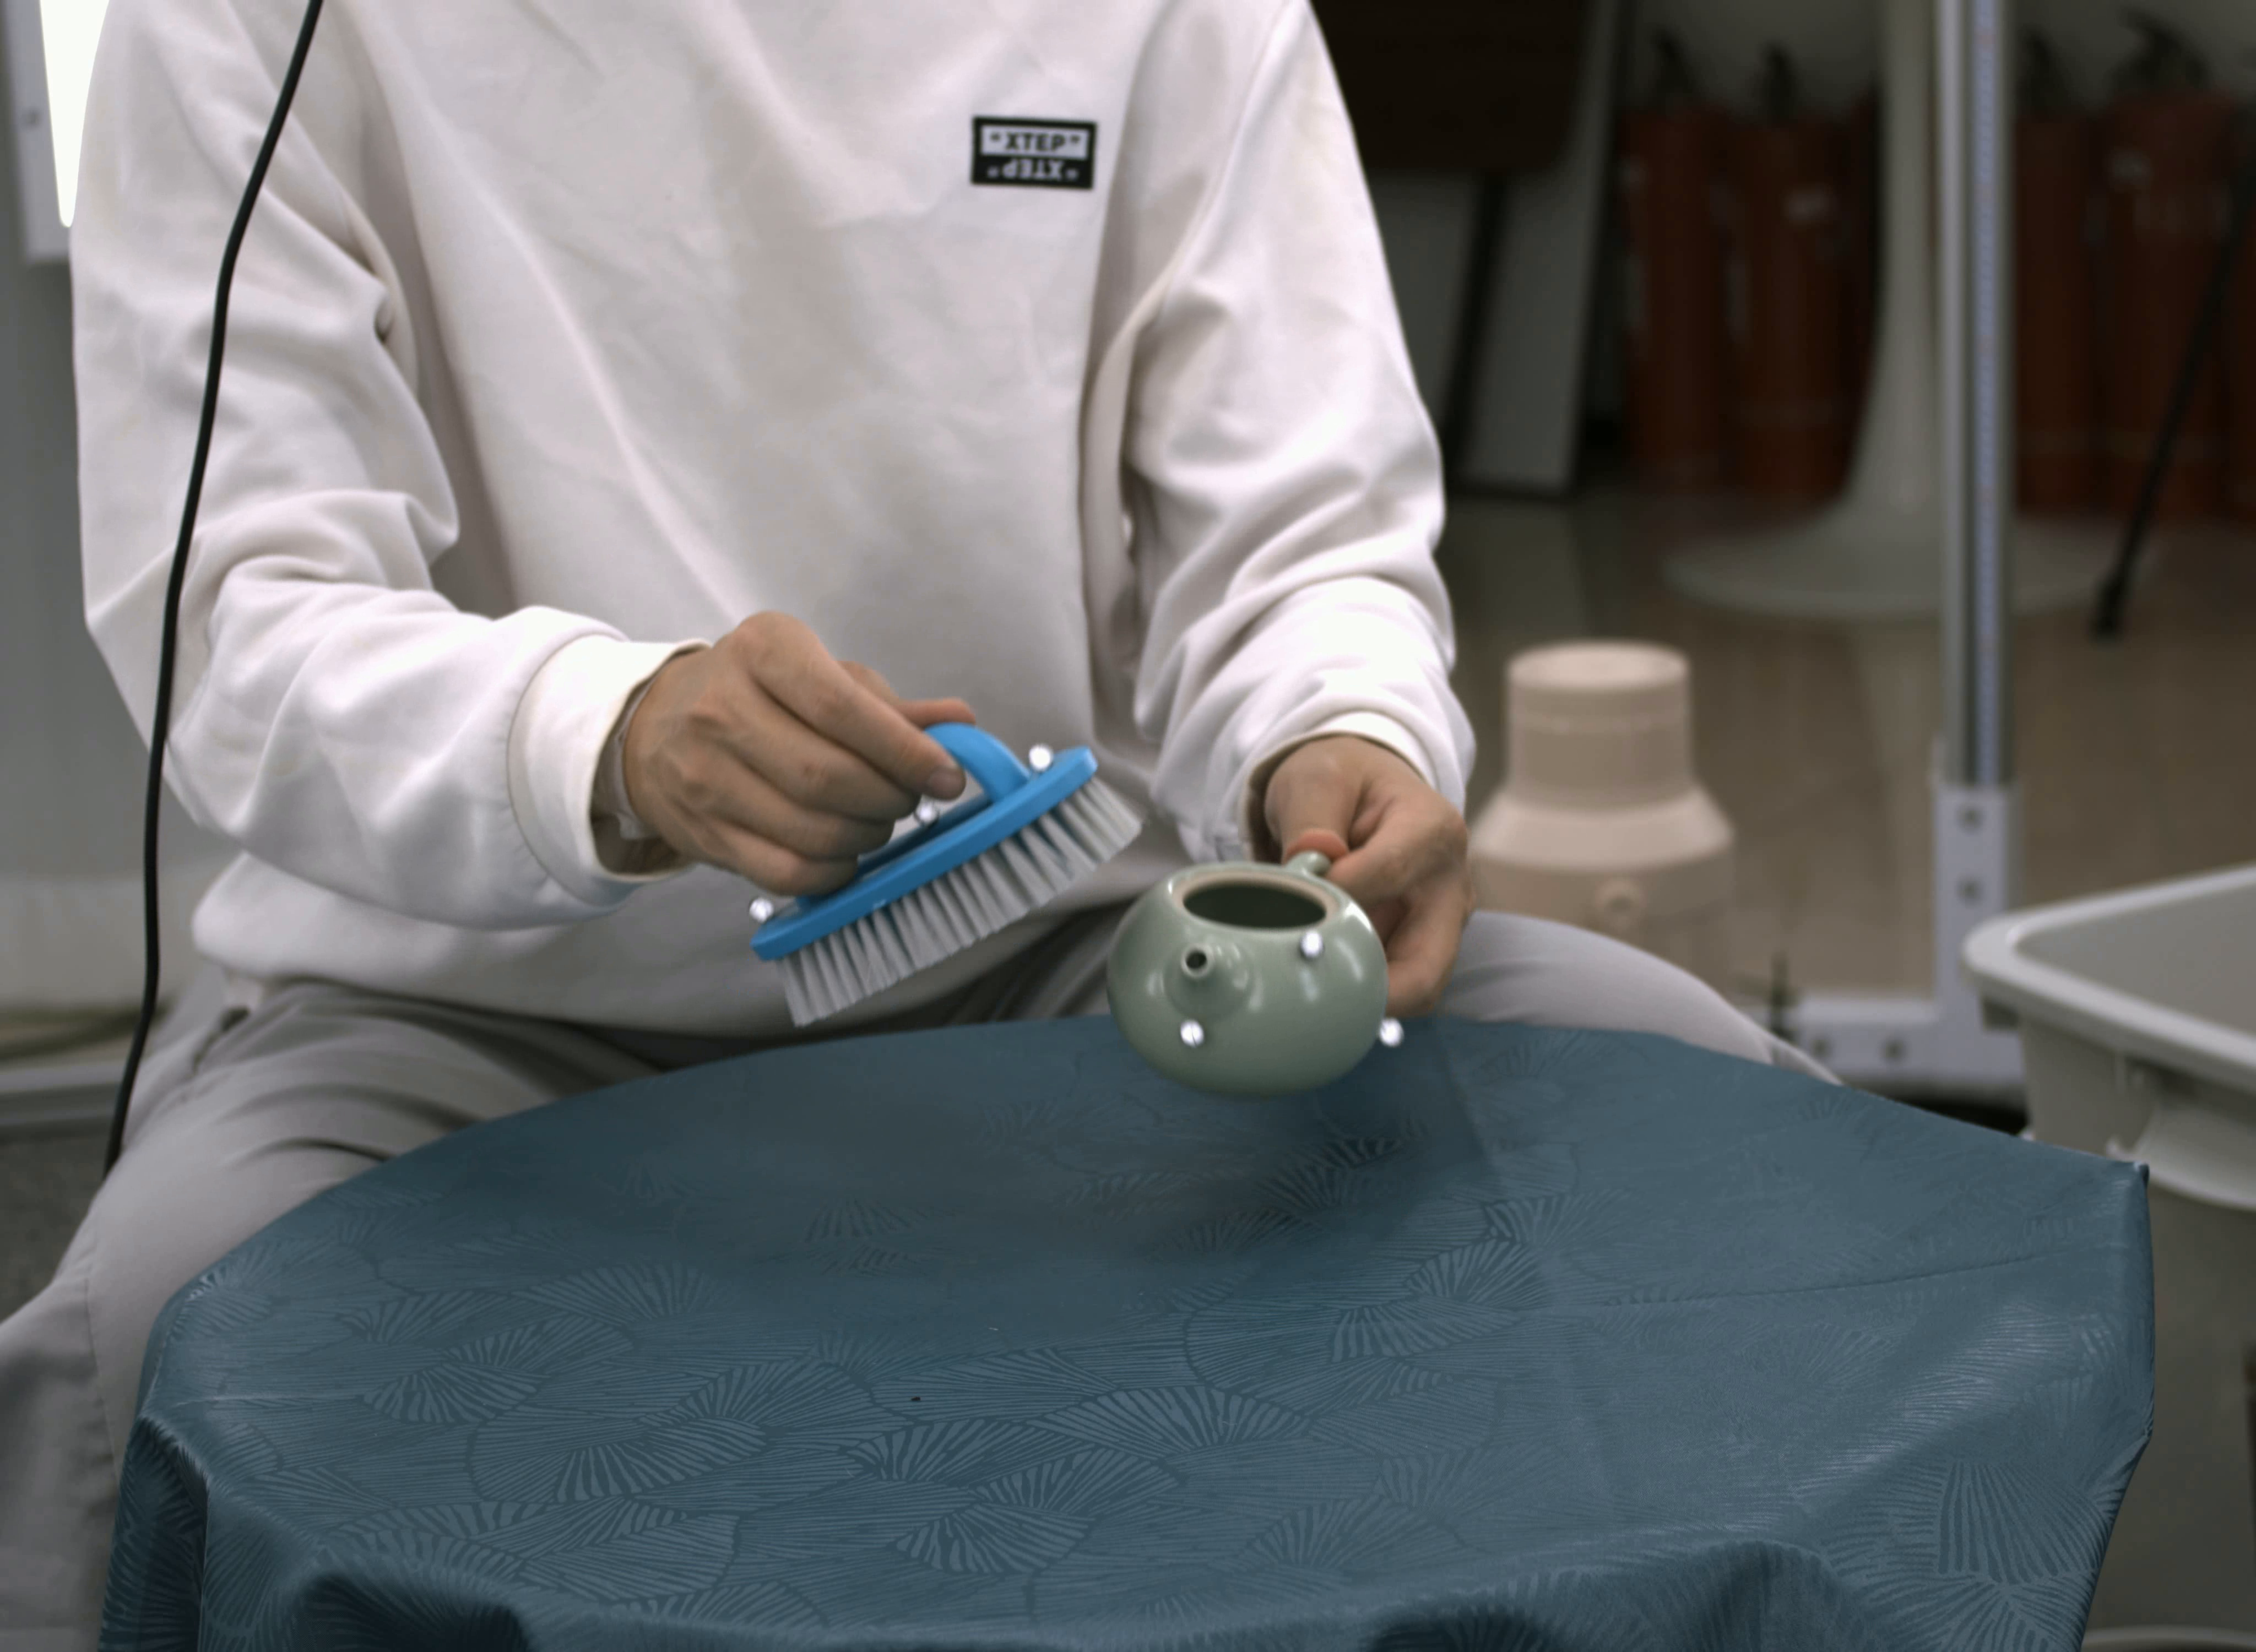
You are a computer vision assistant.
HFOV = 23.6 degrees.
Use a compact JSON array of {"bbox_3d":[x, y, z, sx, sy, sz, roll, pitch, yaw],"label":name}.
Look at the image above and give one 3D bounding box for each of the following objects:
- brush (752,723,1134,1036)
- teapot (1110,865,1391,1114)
[{"bbox_3d":[-0.069,0.009,1.728,0.143,0.064,0.083,-29,11,35],"label":"brush"},{"bbox_3d":[0.044,0.052,1.736,0.092,0.061,0.127,11,20,26],"label":"teapot"}]
